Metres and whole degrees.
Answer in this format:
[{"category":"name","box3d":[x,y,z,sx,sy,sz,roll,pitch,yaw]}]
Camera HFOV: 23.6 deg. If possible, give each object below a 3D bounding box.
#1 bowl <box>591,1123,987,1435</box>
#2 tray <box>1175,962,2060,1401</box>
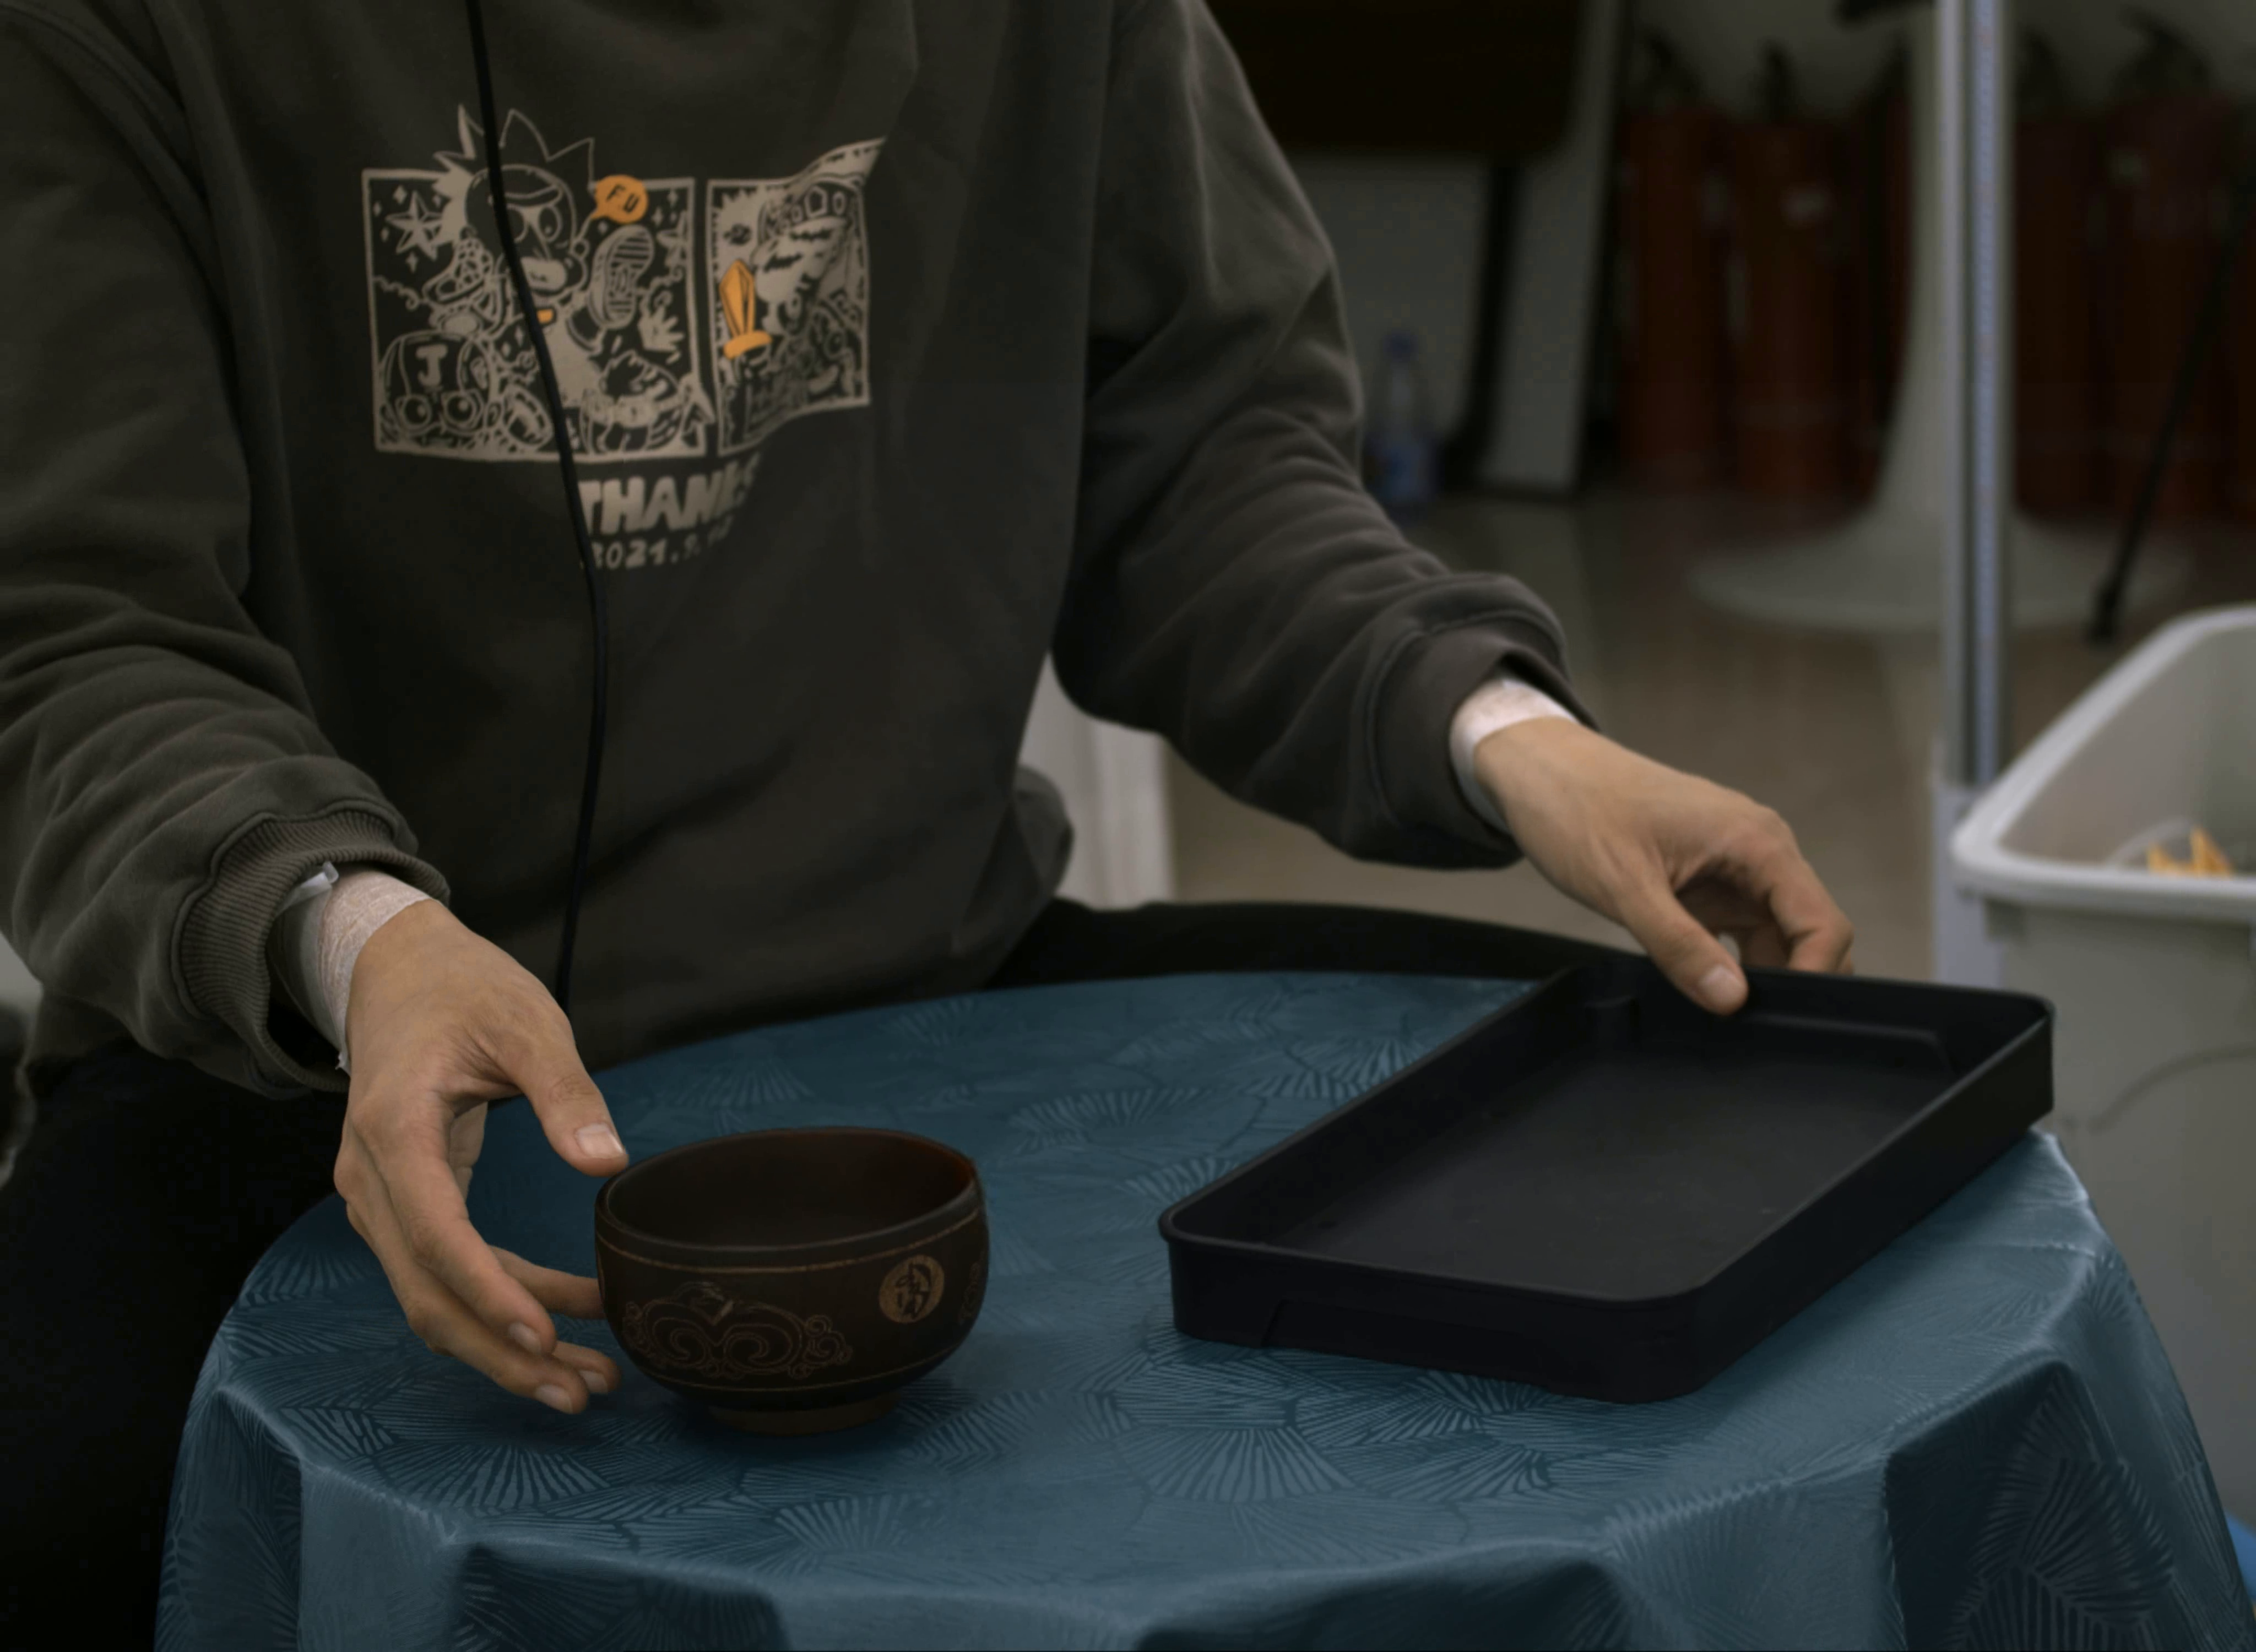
[{"category":"bowl","box3d":[-0.098,0.137,1.588,0.116,0.070,0.118,-5,12,0]},{"category":"tray","box3d":[0.163,0.107,1.712,0.185,0.037,0.313,3,16,31]}]
